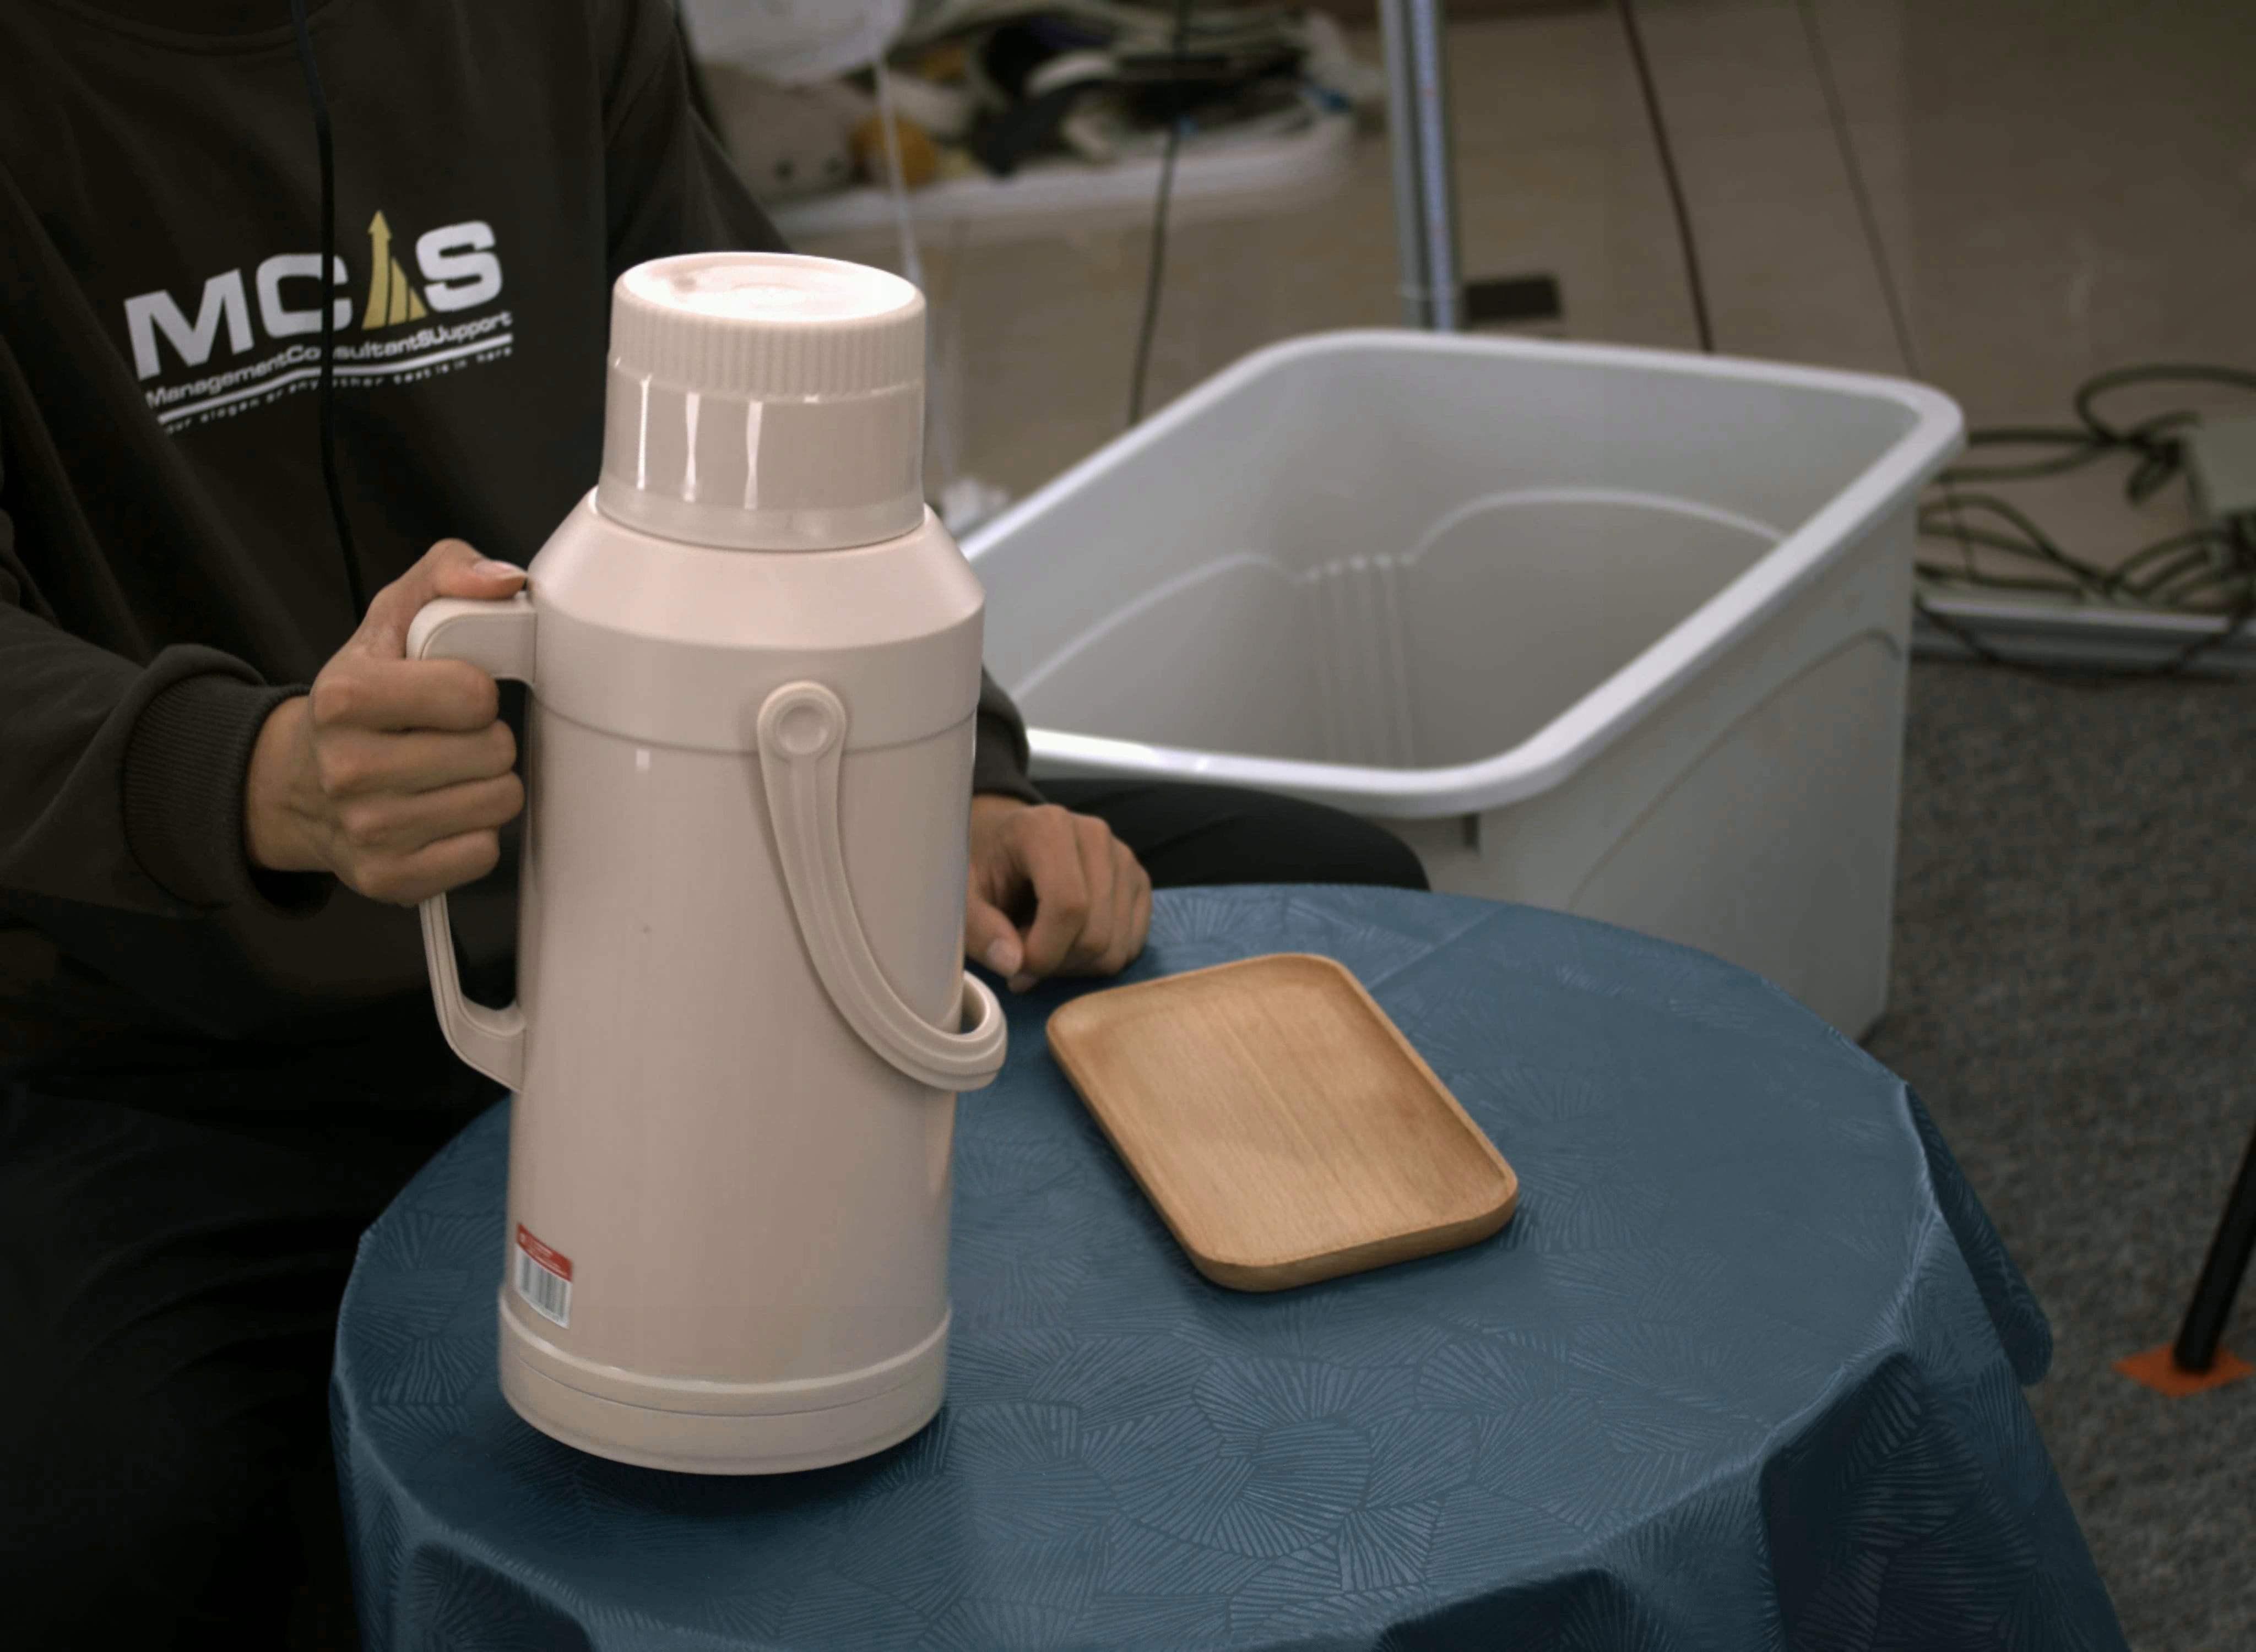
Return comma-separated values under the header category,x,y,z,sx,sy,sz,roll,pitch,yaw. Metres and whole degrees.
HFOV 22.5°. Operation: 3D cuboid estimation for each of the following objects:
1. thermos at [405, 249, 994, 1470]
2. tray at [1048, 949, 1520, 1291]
category,x,y,z,sx,sy,sz,roll,pitch,yaw
thermos,-0.146,0.010,1.950,0.207,0.412,0.173,-2,22,-15
tray,0.057,0.111,2.176,0.130,0.023,0.247,-10,24,-13
